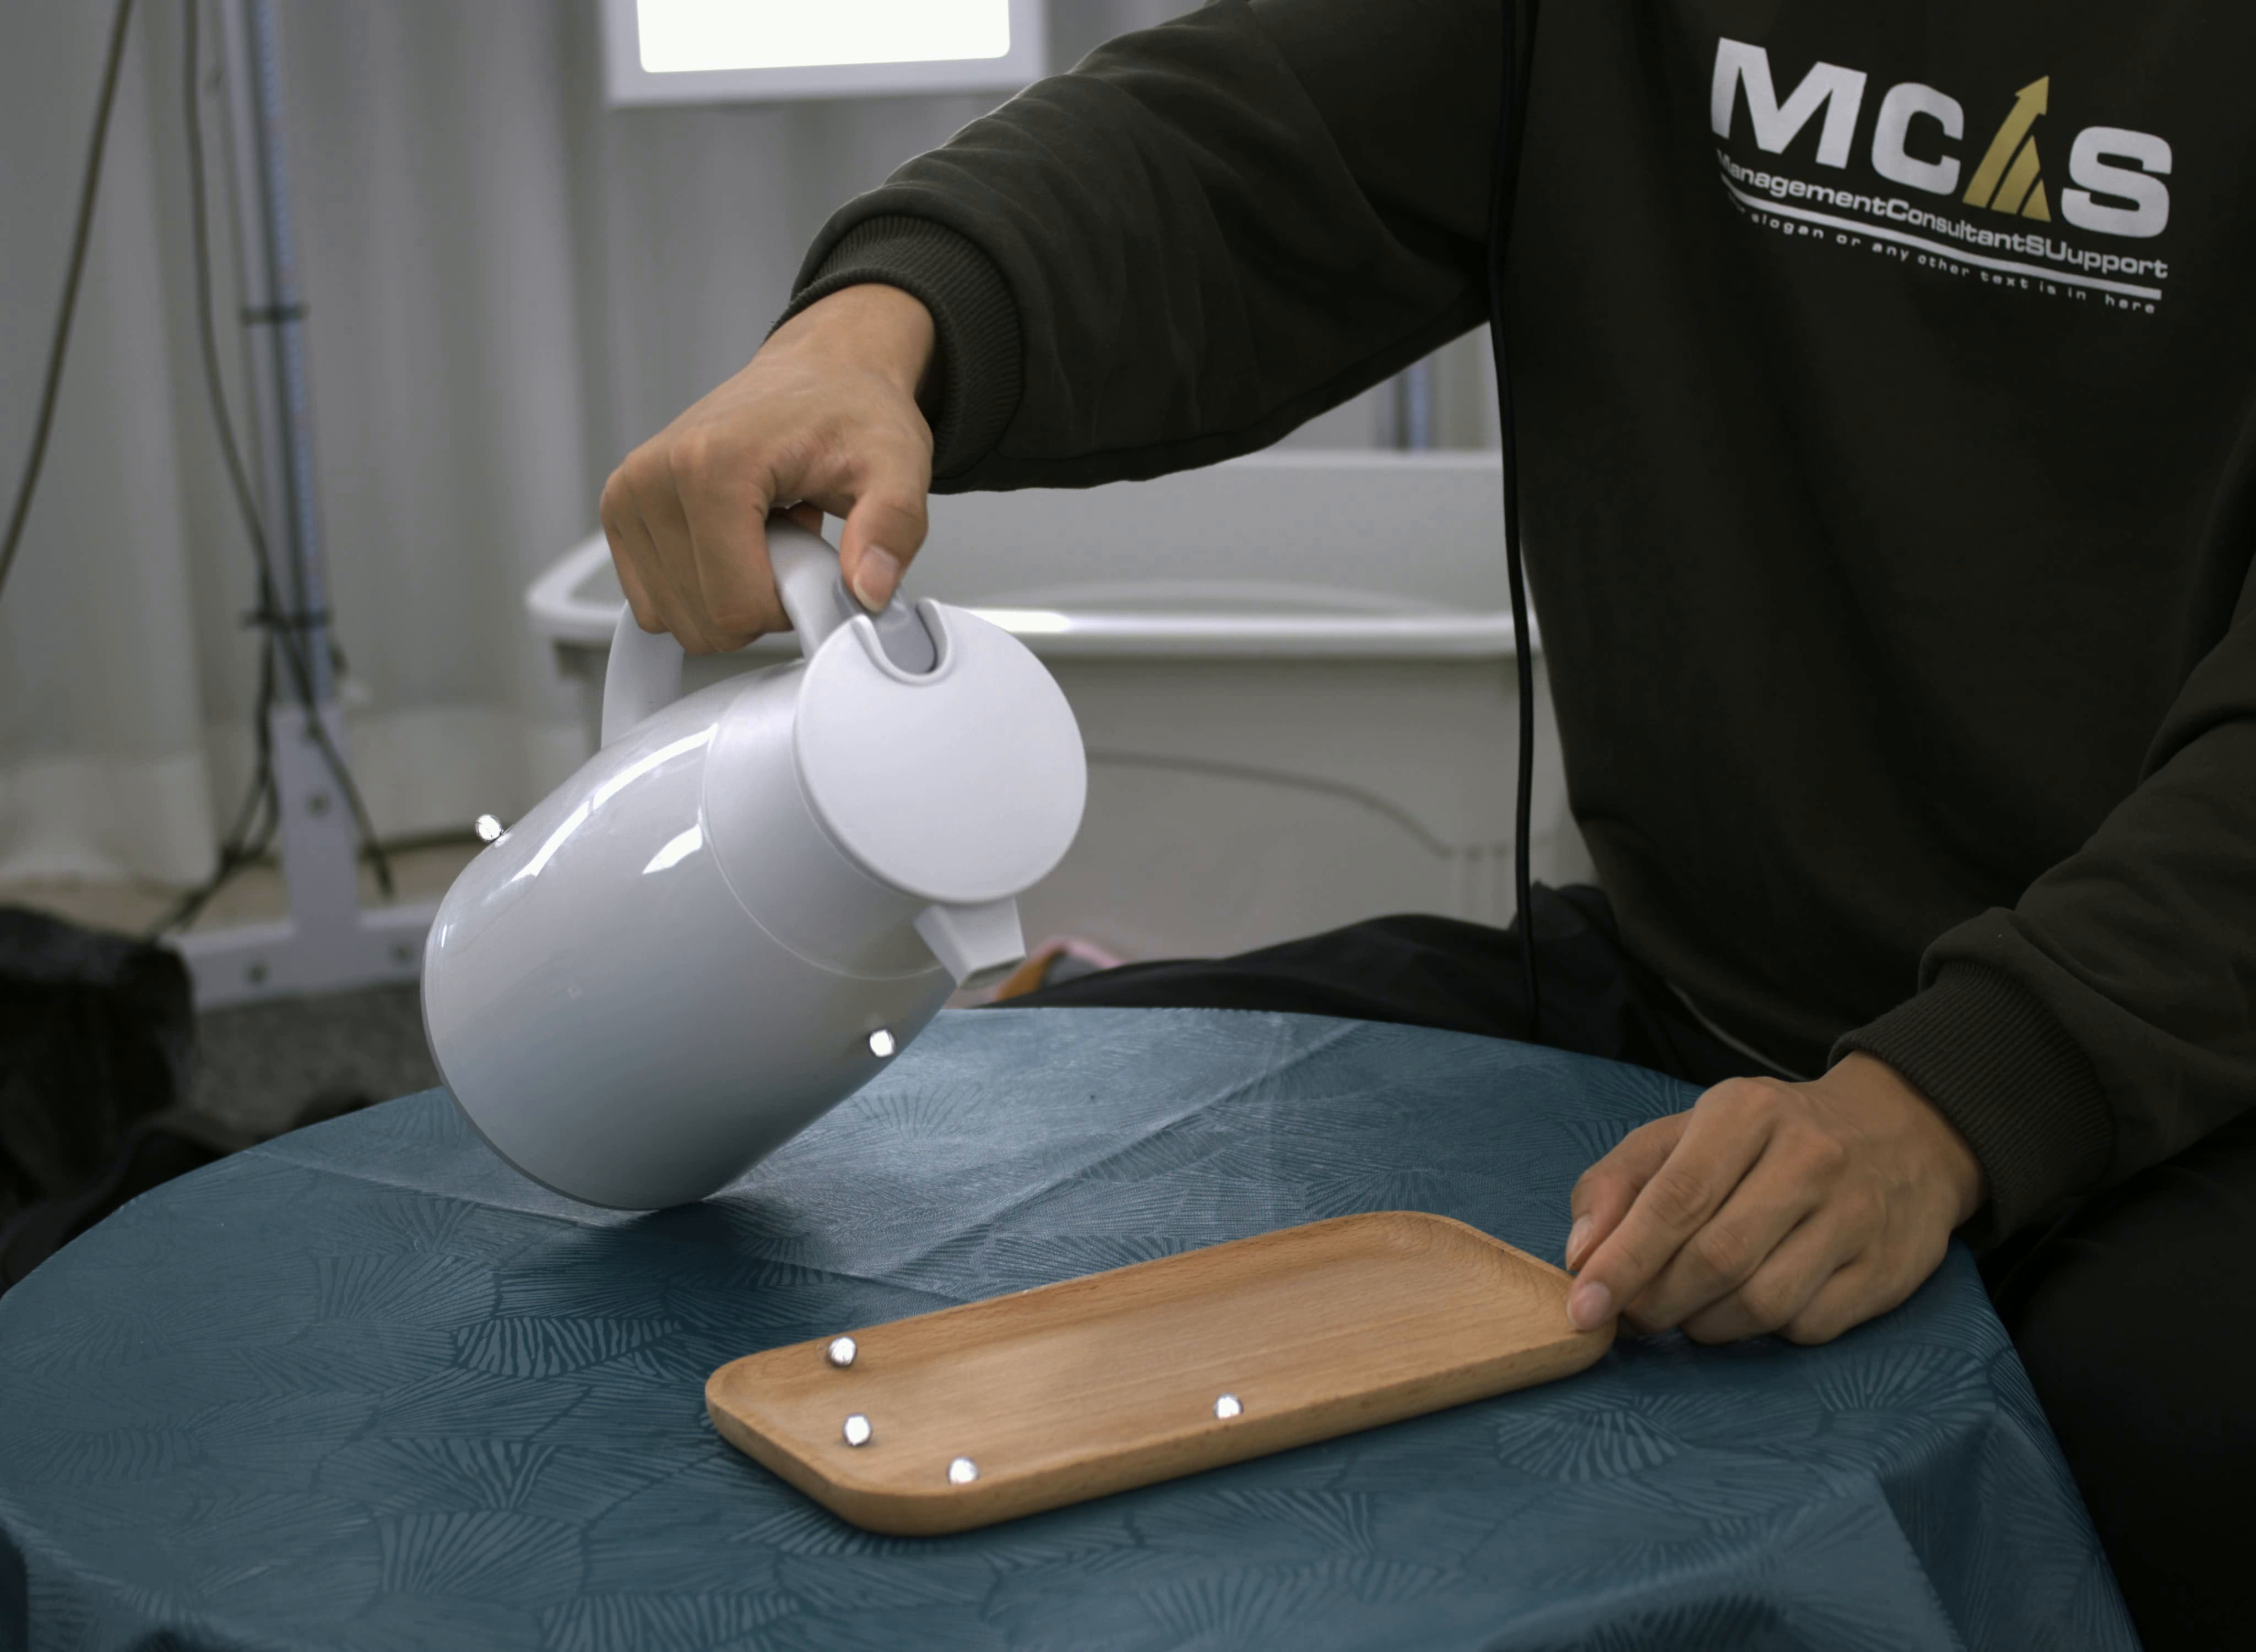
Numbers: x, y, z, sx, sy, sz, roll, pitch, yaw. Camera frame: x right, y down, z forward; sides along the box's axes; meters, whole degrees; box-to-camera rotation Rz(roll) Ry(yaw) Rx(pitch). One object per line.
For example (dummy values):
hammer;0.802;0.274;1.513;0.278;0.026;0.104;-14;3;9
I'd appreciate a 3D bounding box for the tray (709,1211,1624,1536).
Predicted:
tray;0.012;0.153;1.543;0.249;0.023;0.131;-10;19;-27

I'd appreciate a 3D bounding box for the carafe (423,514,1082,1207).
carafe;-0.115;0.000;1.640;0.132;0.169;0.247;-17;-12;-33
